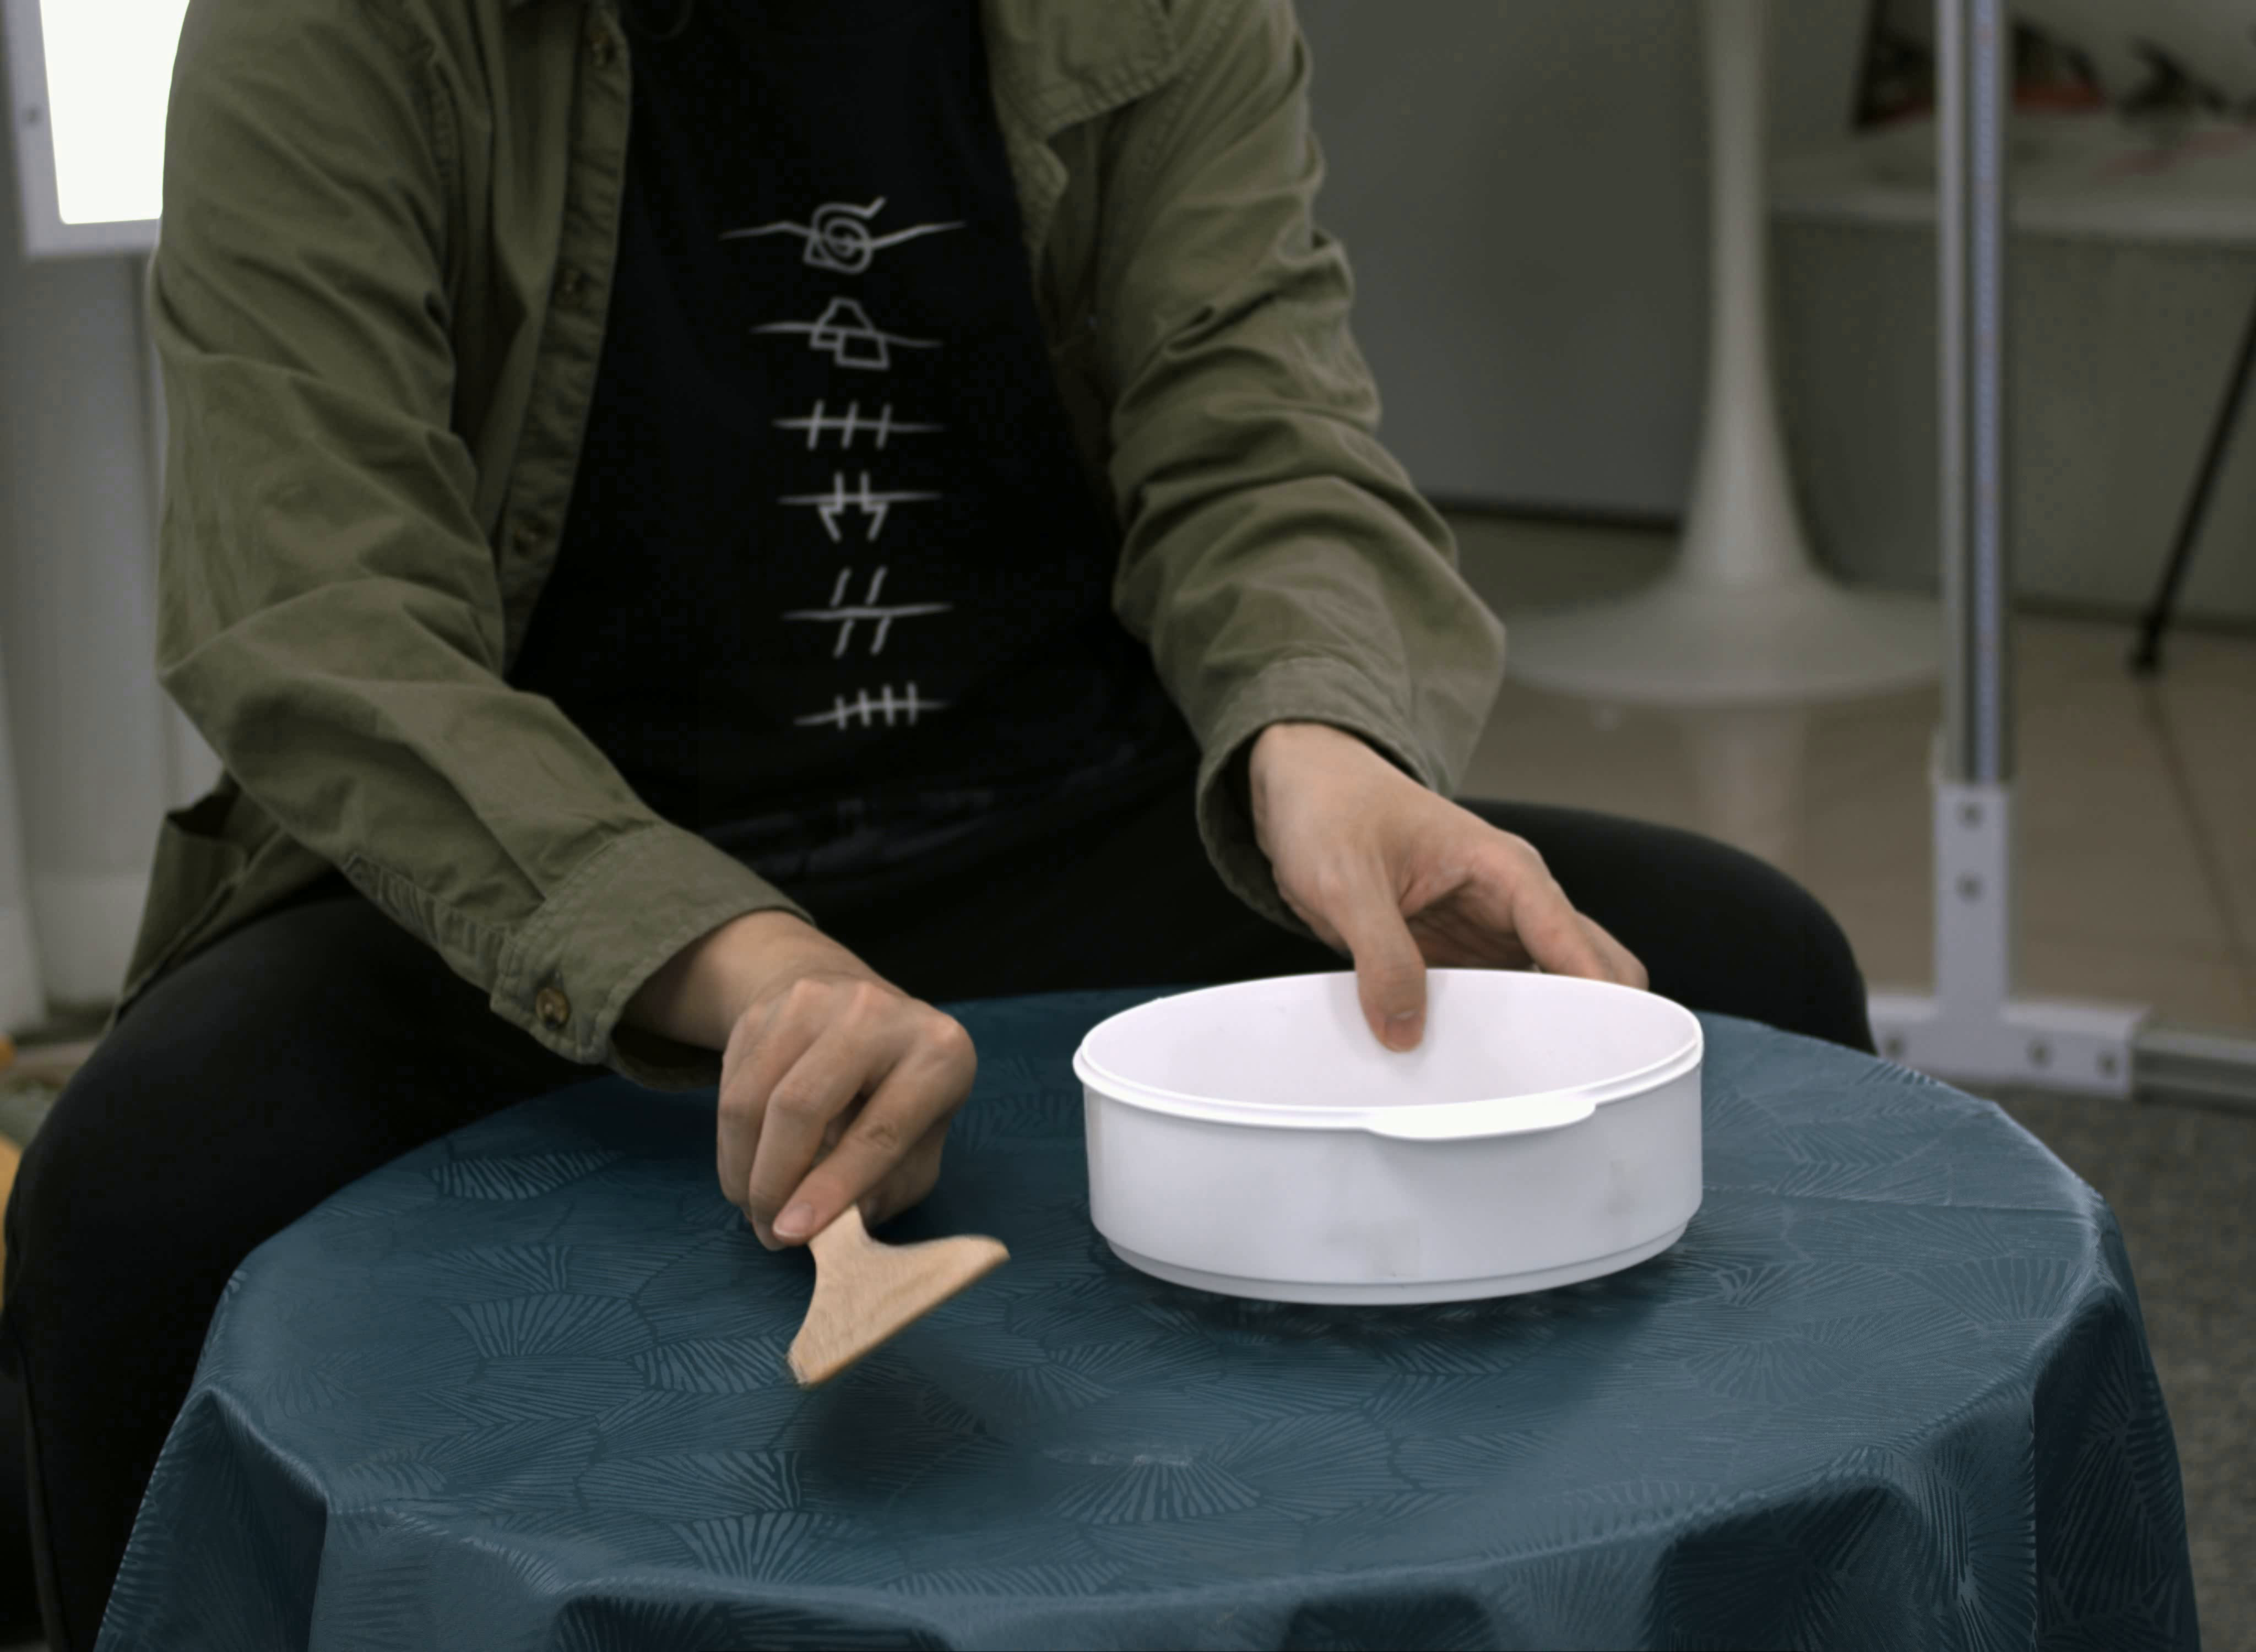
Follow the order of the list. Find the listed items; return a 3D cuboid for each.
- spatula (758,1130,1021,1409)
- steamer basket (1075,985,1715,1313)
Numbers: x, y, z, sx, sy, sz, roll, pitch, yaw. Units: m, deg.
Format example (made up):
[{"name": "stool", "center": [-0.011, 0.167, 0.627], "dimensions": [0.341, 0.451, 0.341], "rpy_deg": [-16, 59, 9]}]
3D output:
[{"name": "spatula", "center": [-0.087, 0.126, 1.662], "dimensions": [0.079, 0.016, 0.329], "rpy_deg": [-33, 12, -4]}, {"name": "steamer basket", "center": [0.084, 0.100, 1.679], "dimensions": [0.198, 0.070, 0.232], "rpy_deg": [-5, 9, -13]}]
